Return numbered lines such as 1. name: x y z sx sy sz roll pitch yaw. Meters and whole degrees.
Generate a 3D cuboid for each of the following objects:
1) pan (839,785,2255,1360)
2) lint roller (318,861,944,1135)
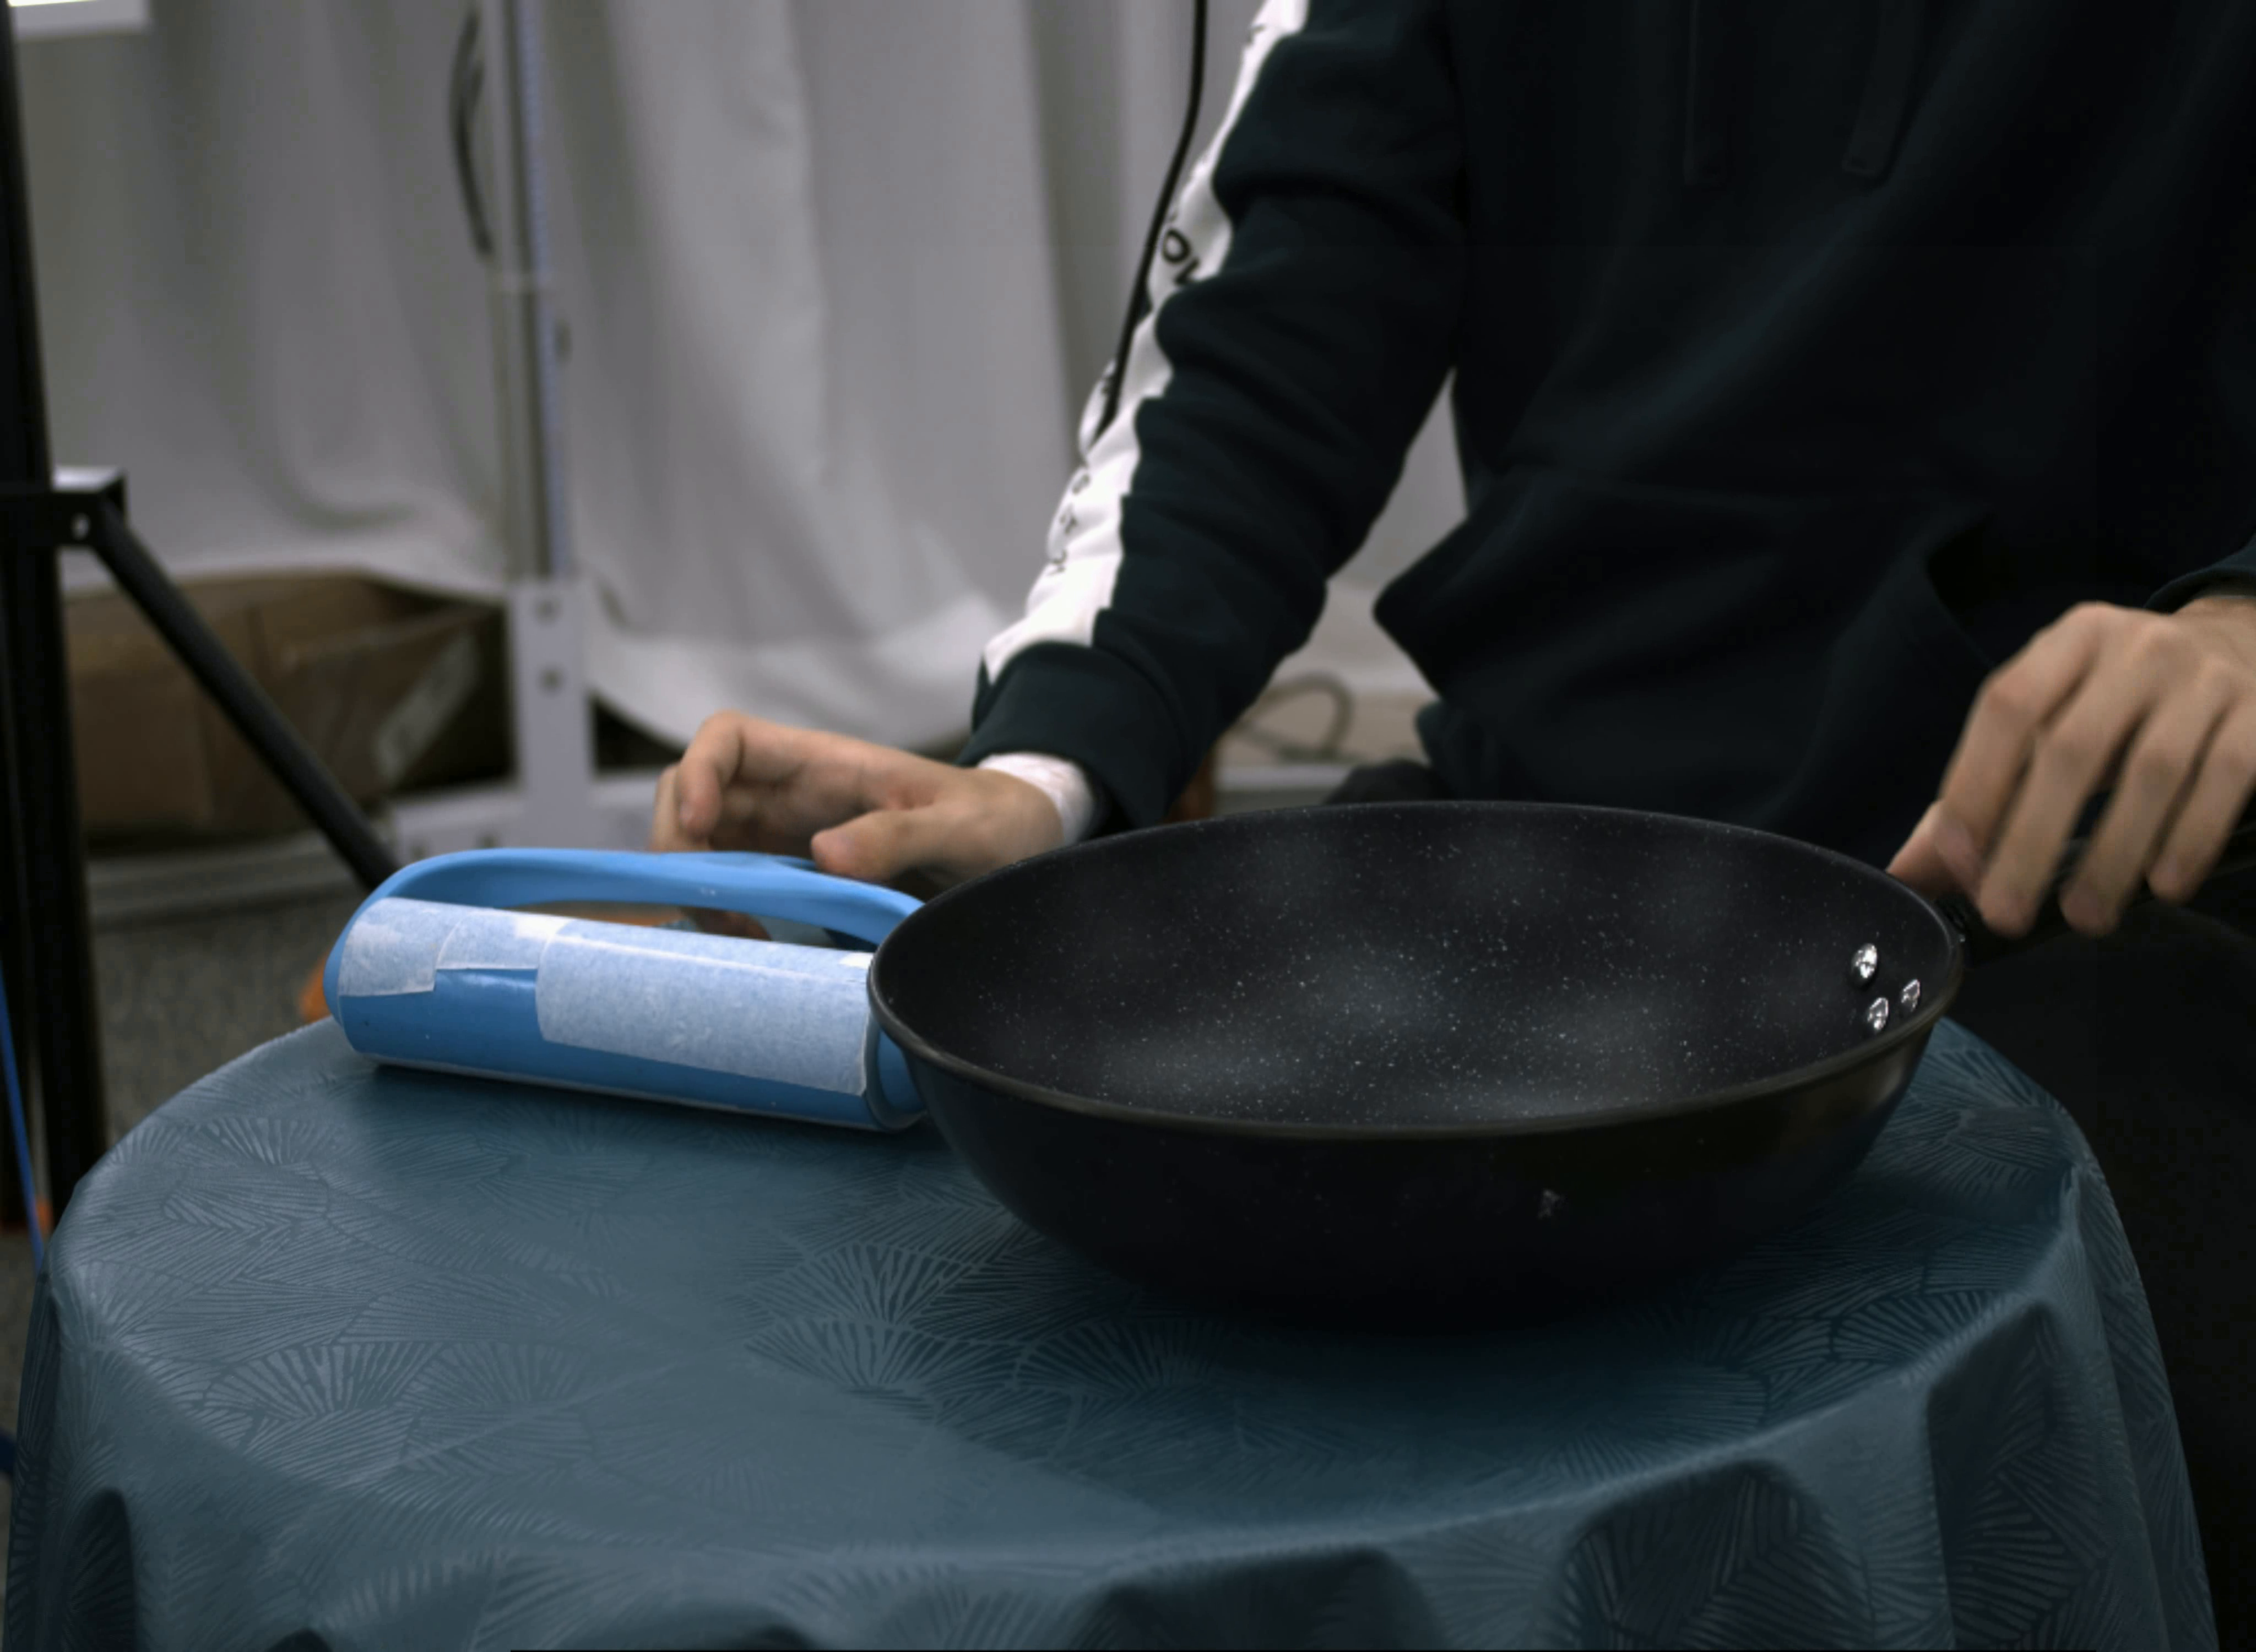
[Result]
1. pan: 0.155 0.059 1.510 0.471 0.111 0.314 -6 18 -11
2. lint roller: -0.129 0.043 1.709 0.232 0.068 0.177 3 17 25
